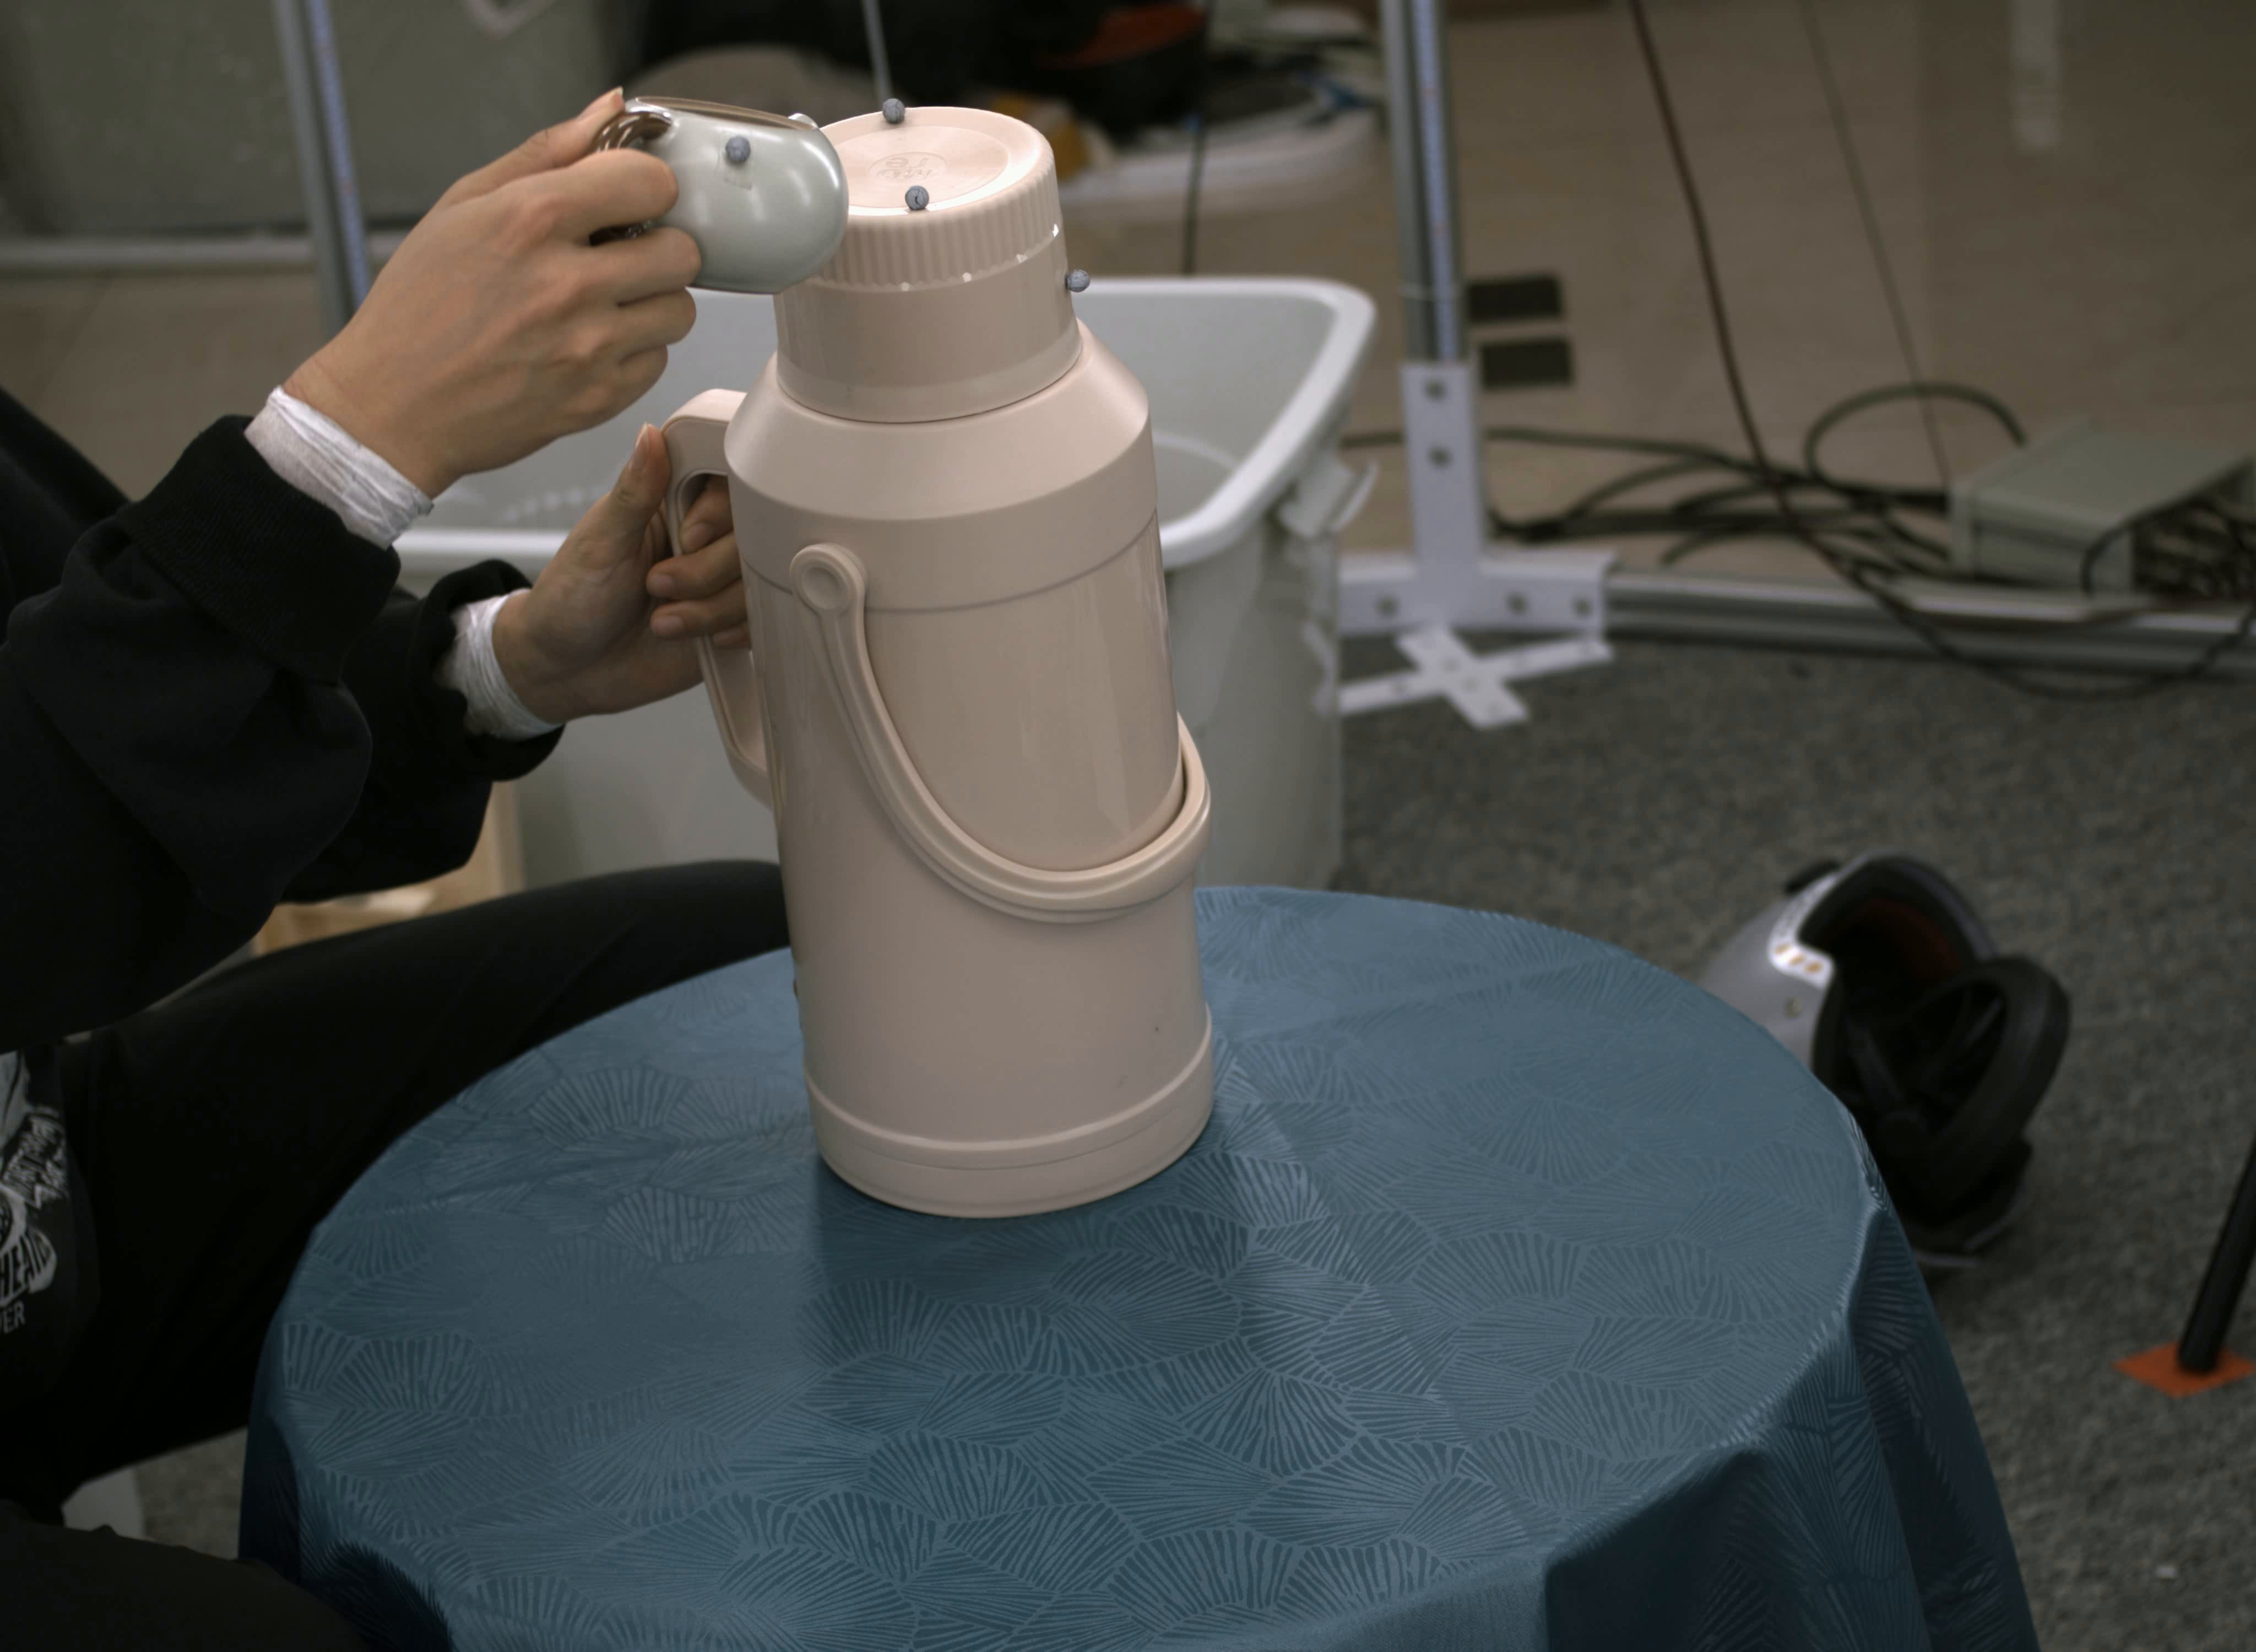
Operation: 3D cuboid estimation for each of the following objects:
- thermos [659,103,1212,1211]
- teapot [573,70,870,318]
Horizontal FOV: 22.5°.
[{"bbox_3d":[-0.073,-0.066,2.115,0.206,0.414,0.173,11,36,25],"label":"thermos"},{"bbox_3d":[-0.139,-0.210,1.900,0.091,0.060,0.127,4,27,43],"label":"teapot"}]
